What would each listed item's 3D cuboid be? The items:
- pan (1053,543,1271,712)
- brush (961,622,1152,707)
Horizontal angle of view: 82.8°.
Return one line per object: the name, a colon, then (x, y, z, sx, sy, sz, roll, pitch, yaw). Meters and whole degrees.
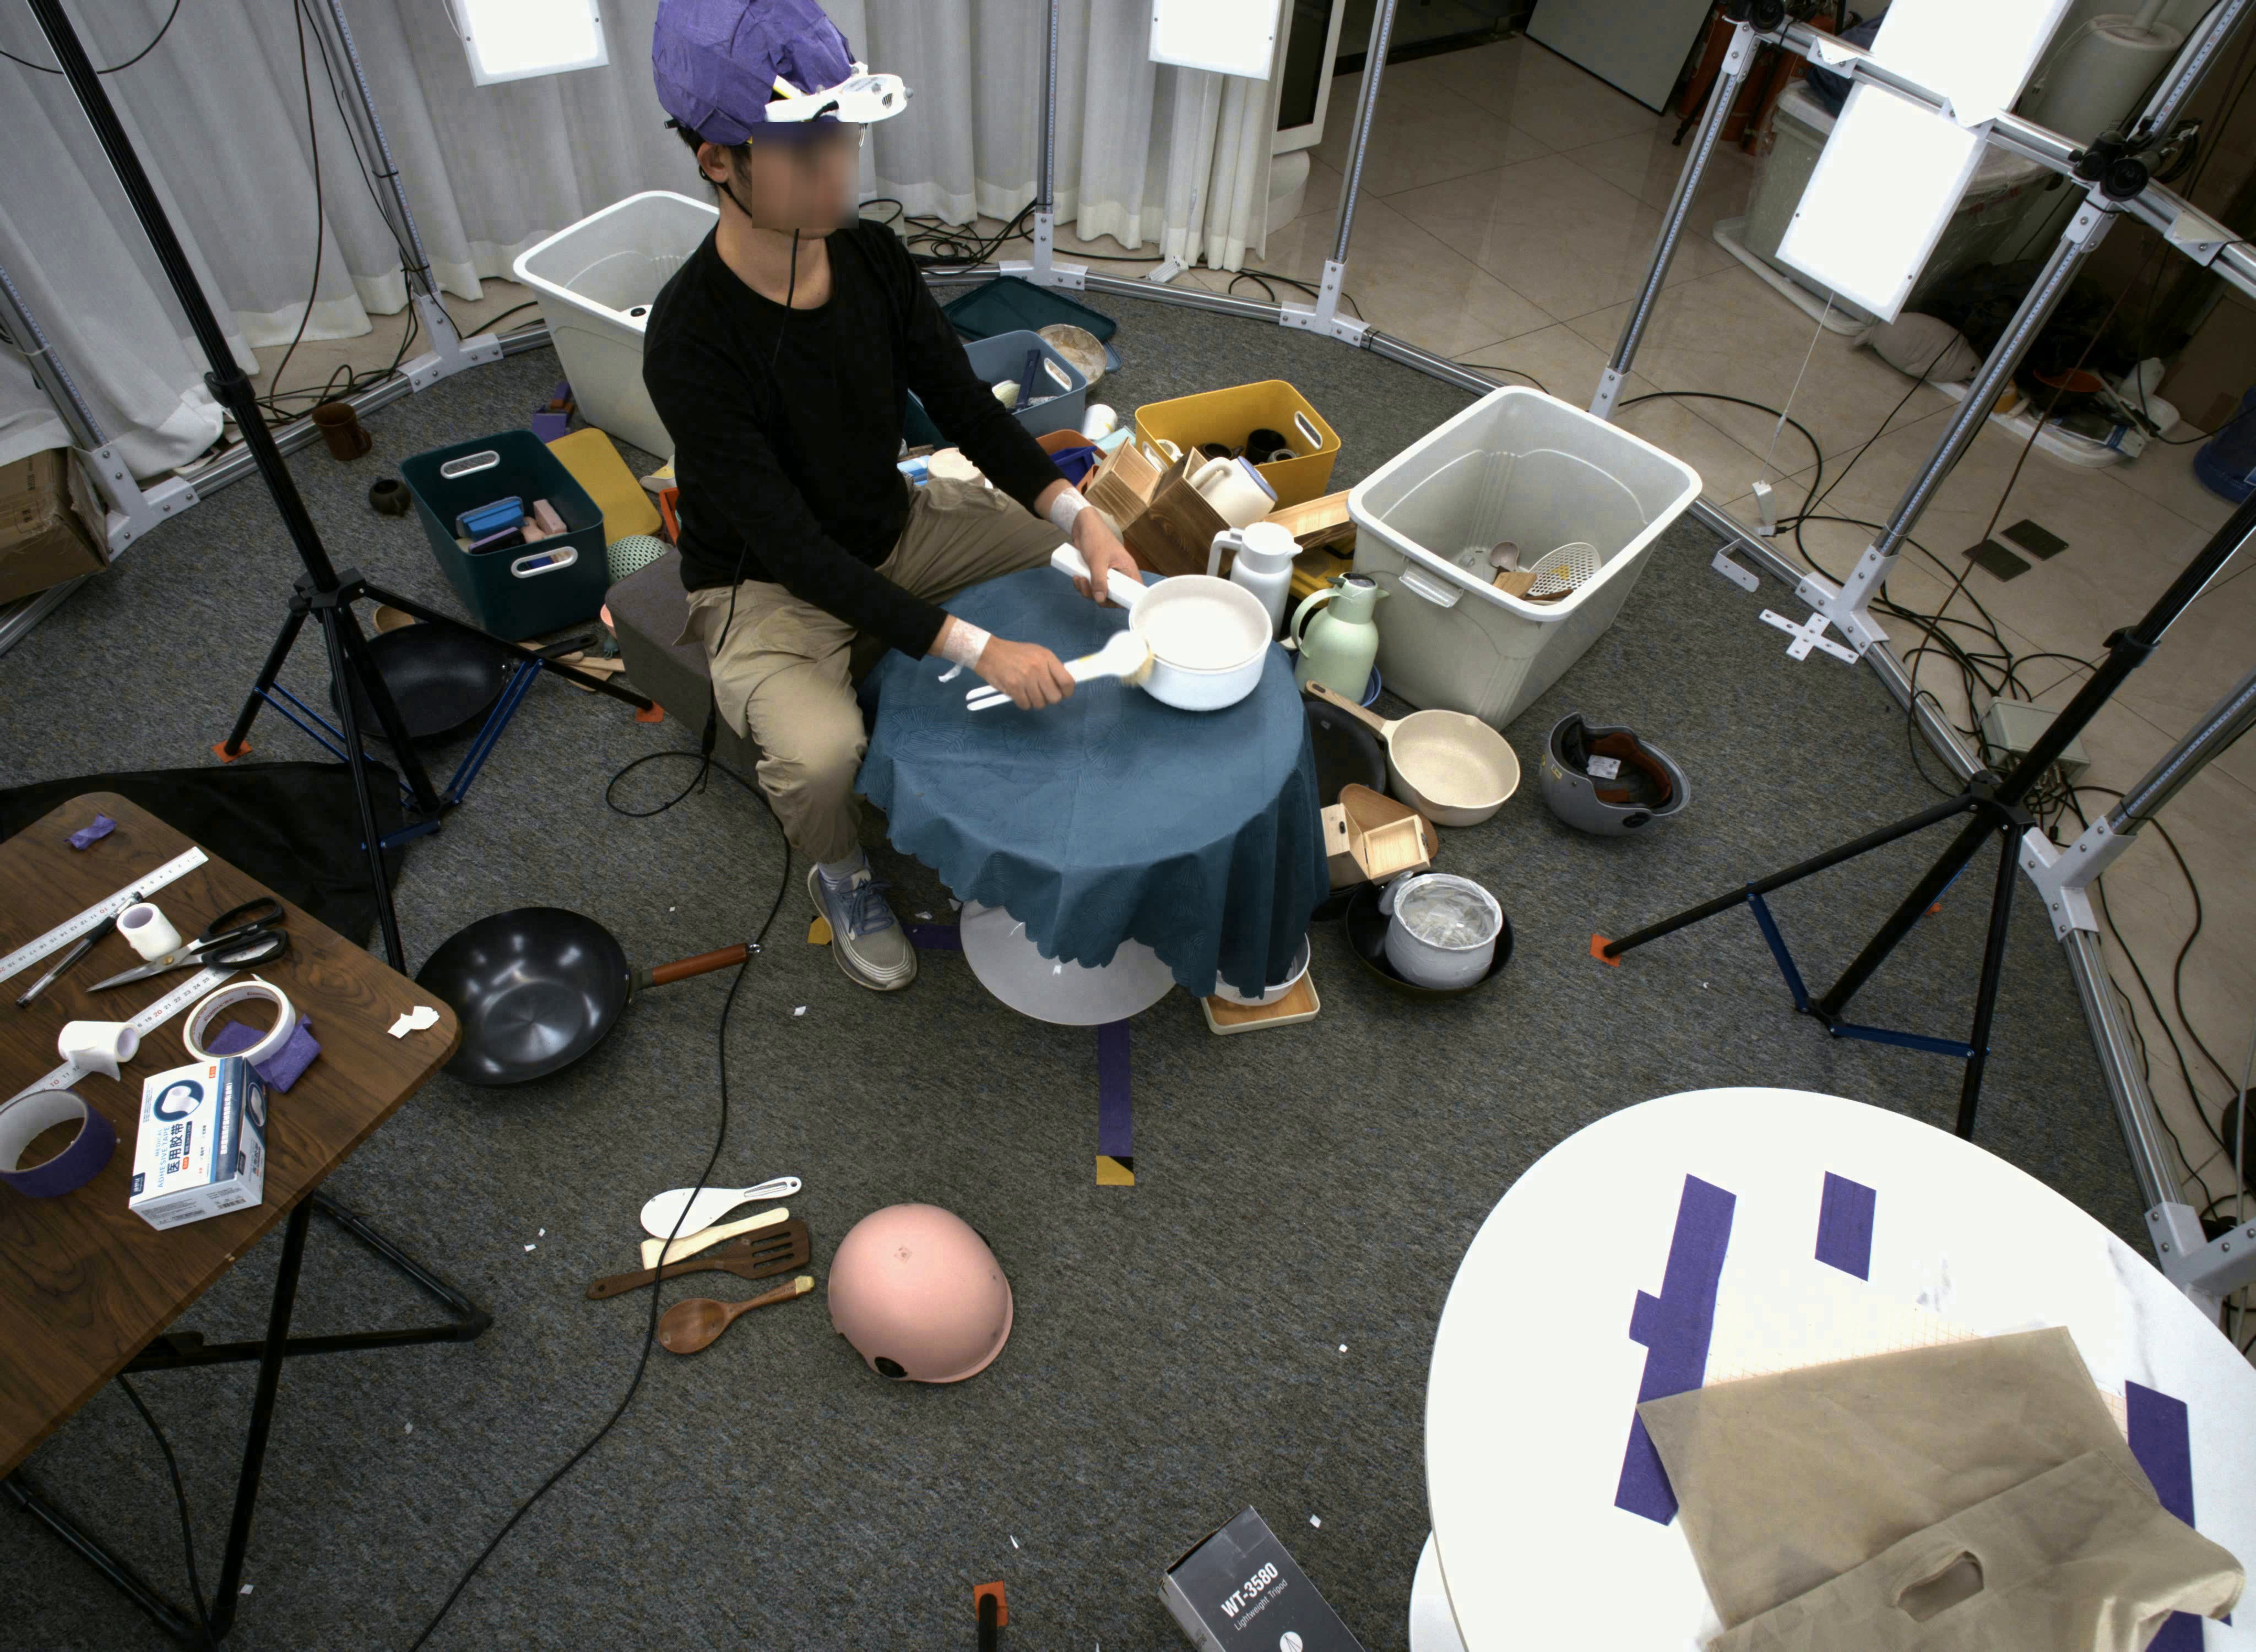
pan: (0.037, -0.293, 1.865, 0.359, 0.099, 0.204, 31, 55, 22)
brush: (-0.096, -0.209, 1.752, 0.266, 0.055, 0.070, -21, 61, 4)
